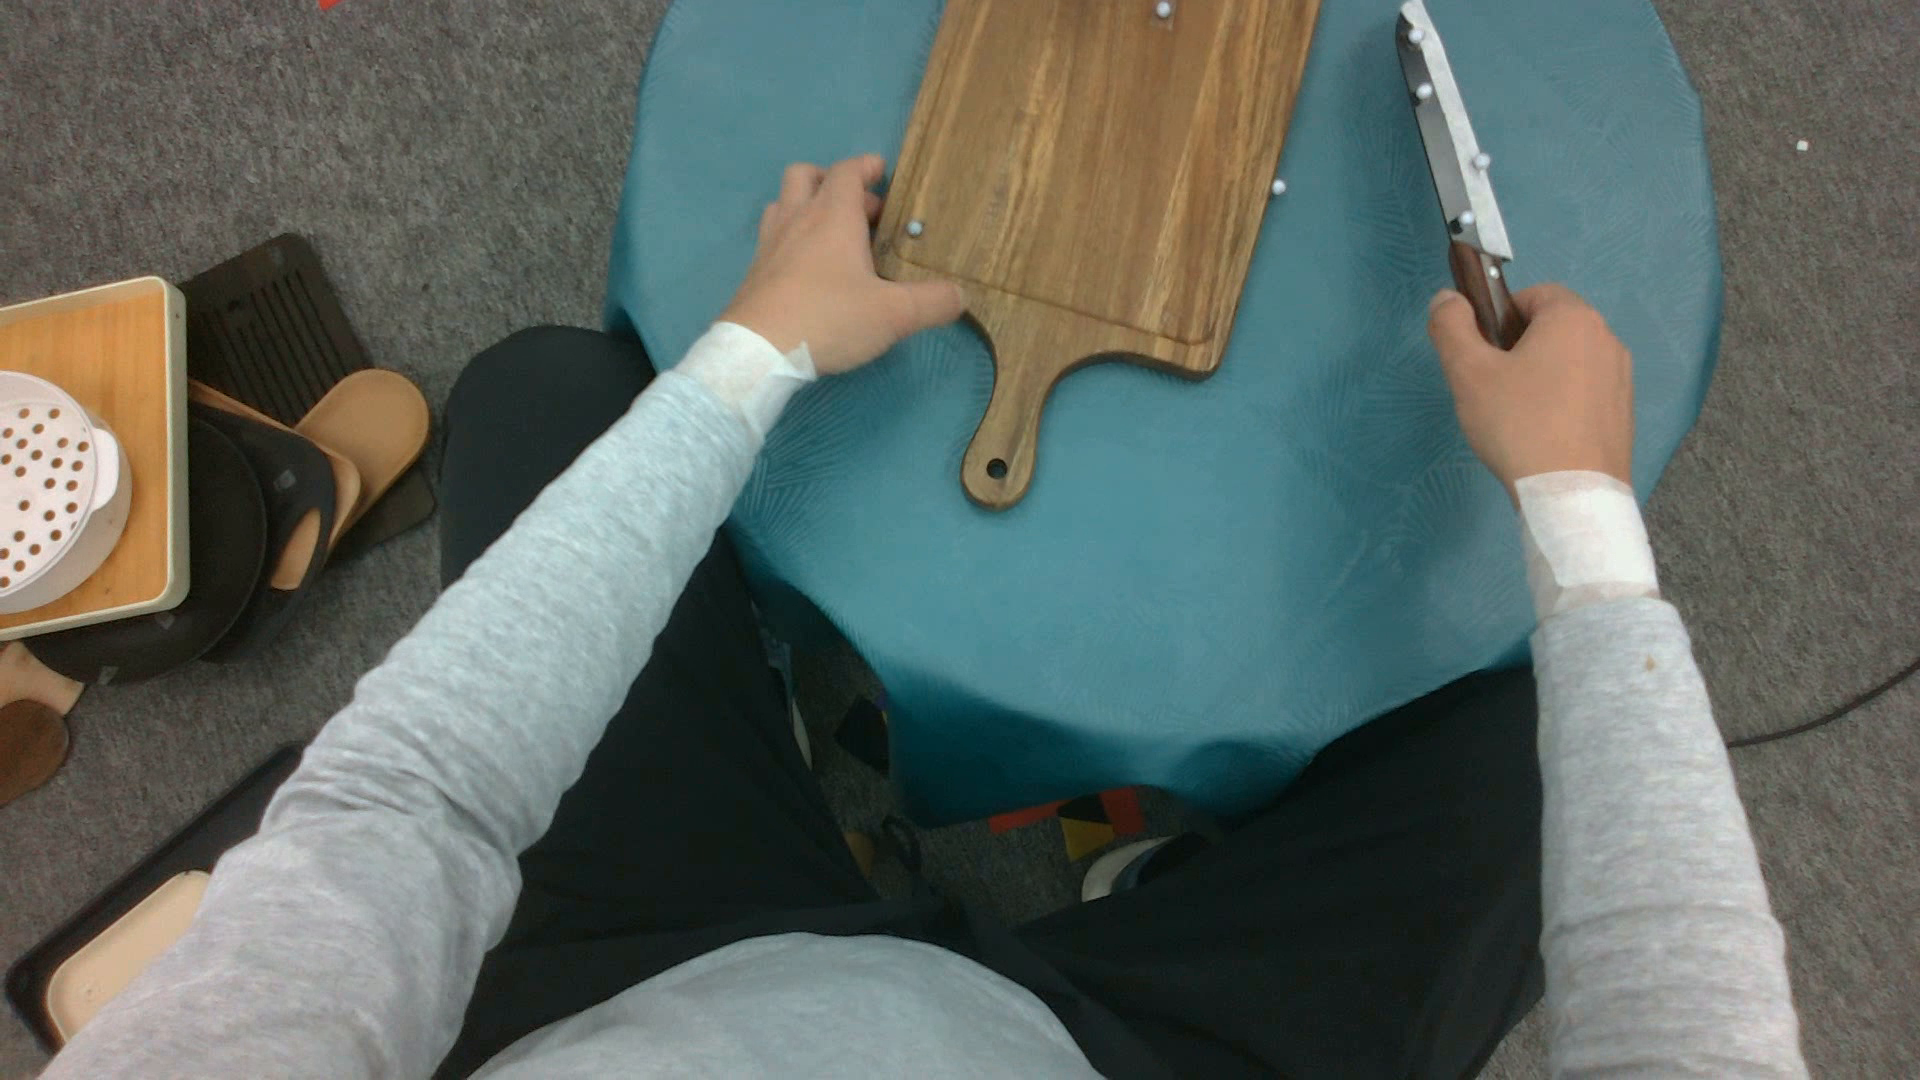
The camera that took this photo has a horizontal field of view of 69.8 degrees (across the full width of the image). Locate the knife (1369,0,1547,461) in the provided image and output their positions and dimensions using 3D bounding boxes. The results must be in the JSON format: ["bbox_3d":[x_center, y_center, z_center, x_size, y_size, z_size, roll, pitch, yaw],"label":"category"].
[{"bbox_3d":[0.250,-0.173,0.705,0.050,0.020,0.290,5,67,-32],"label":"knife"}]

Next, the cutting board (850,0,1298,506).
[{"bbox_3d":[0.054,-0.187,0.742,0.201,0.023,0.353,16,80,0],"label":"cutting board"}]
